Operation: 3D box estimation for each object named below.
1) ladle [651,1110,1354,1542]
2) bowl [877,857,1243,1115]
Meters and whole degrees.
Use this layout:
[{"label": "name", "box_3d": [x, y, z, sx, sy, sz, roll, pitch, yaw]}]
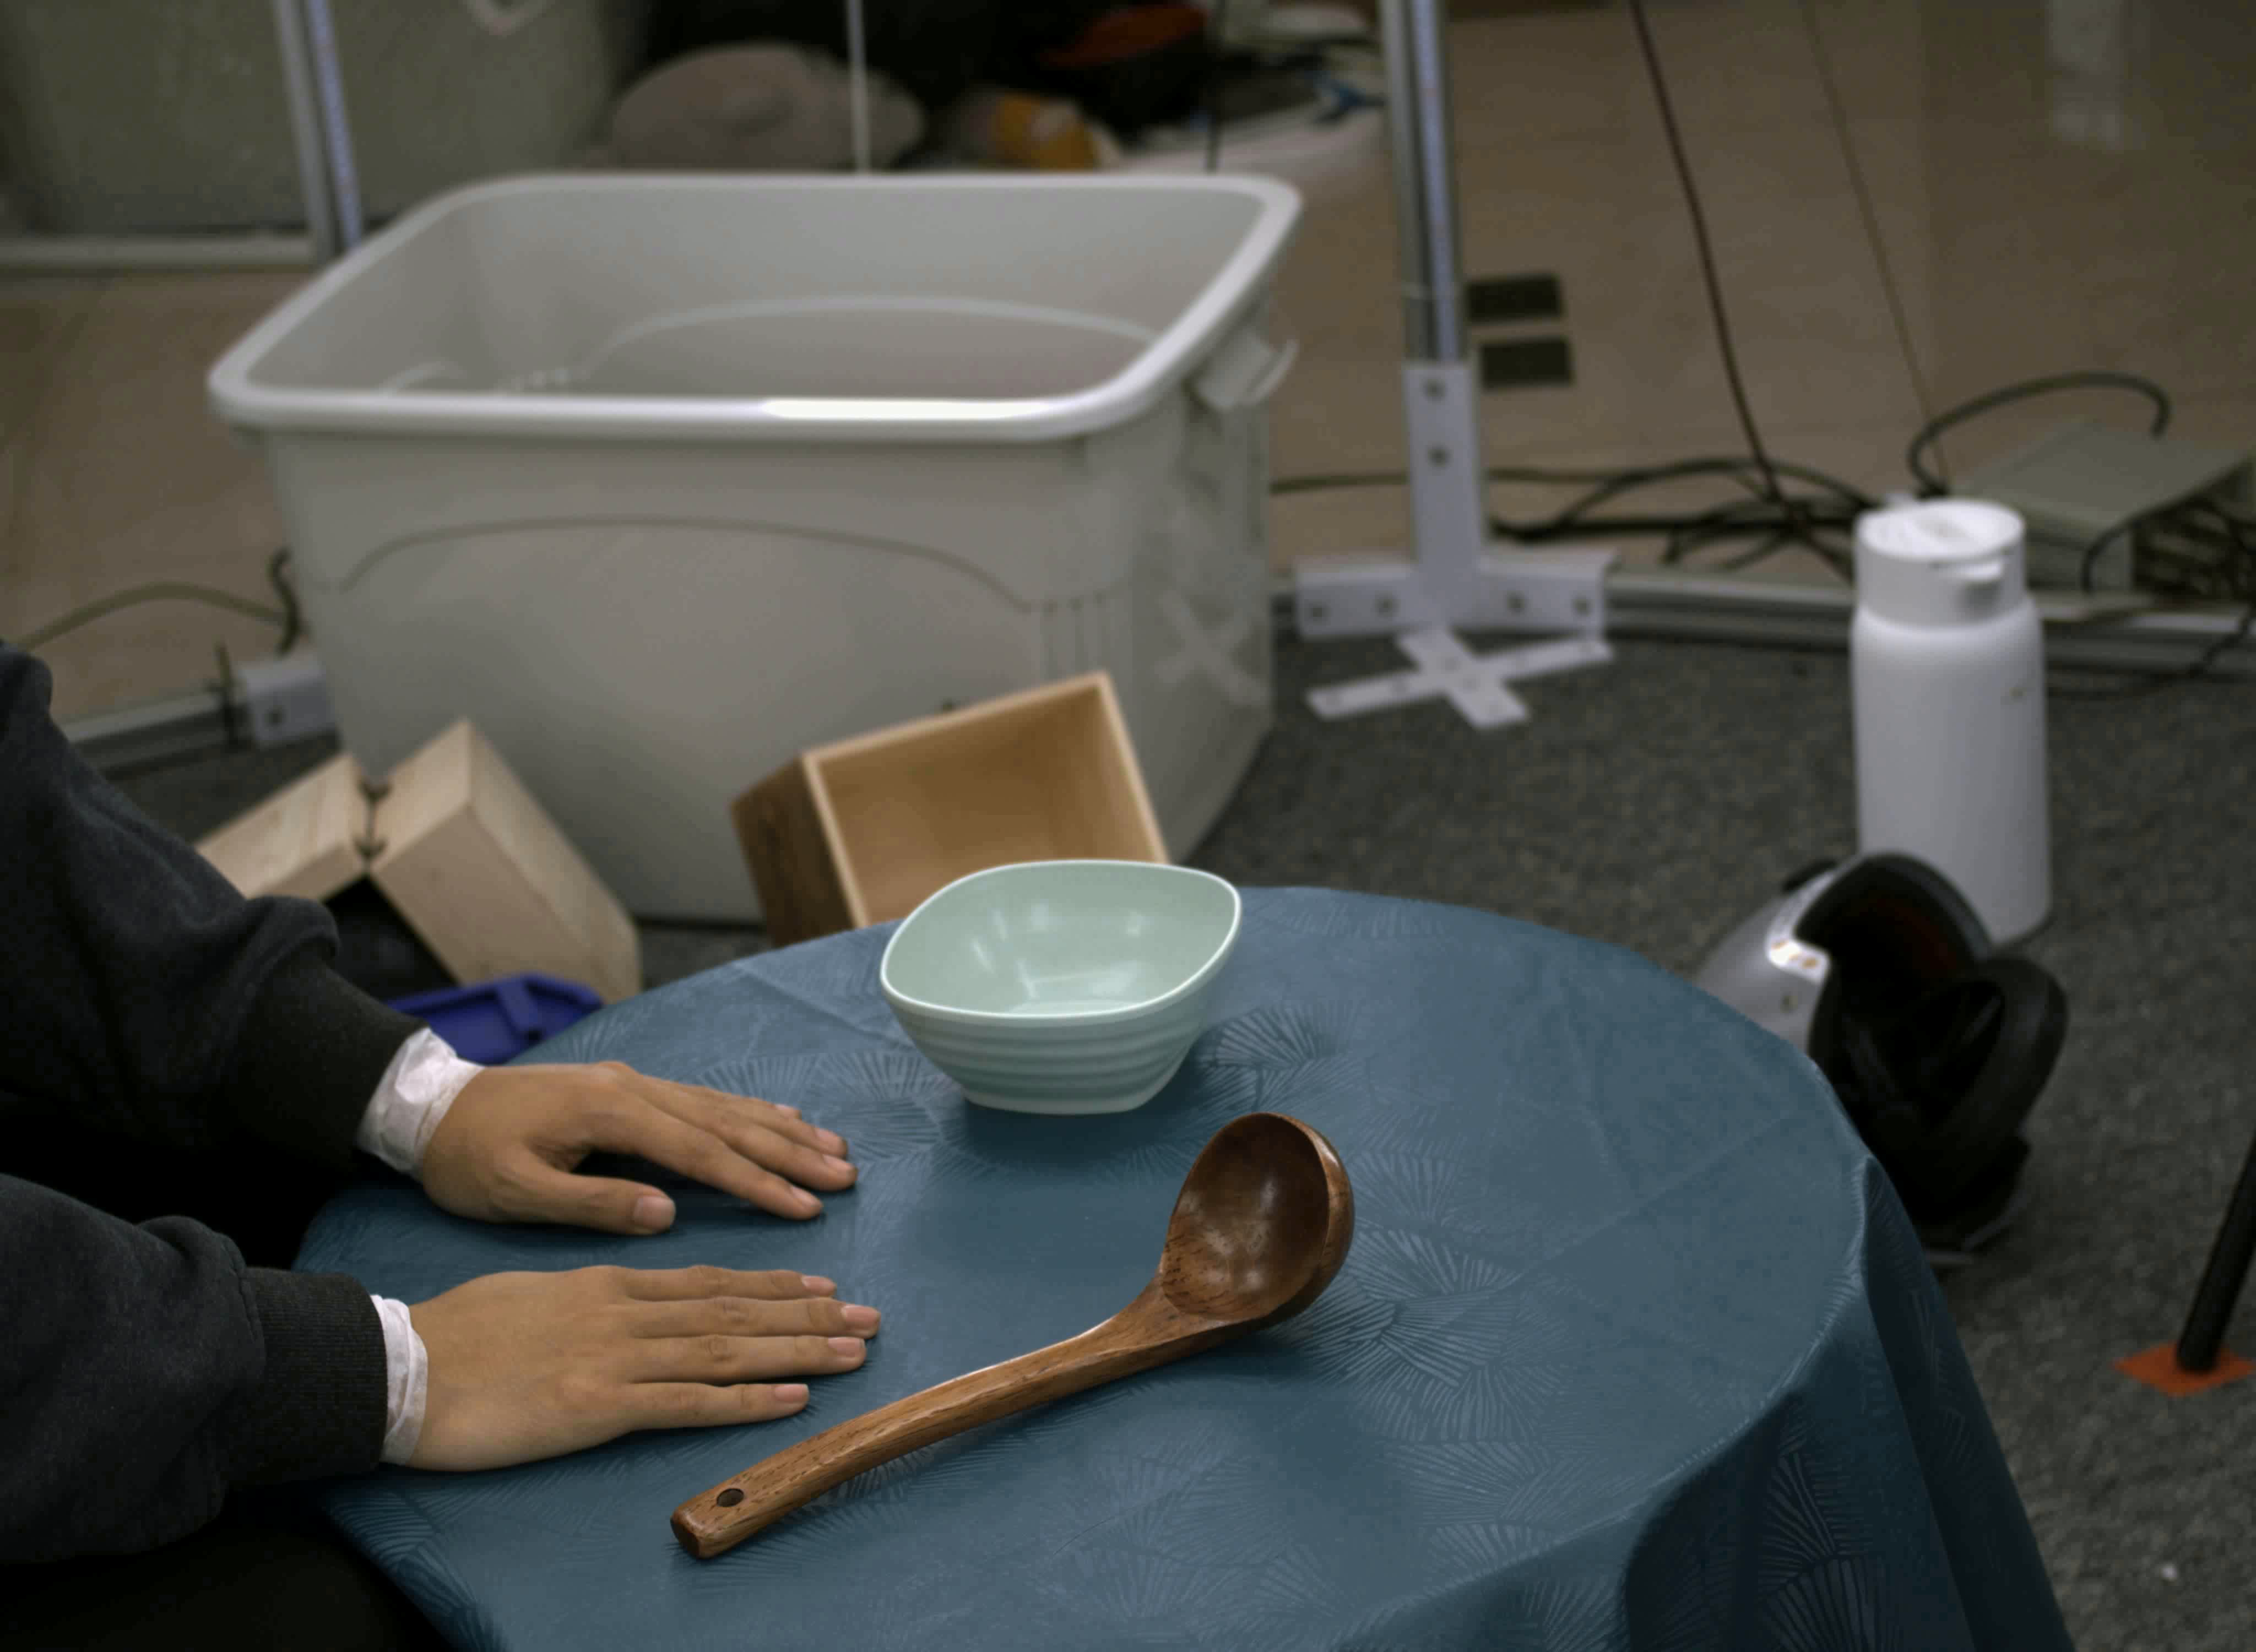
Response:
[{"label": "ladle", "box_3d": [-0.043, 0.173, 1.989, 0.272, 0.078, 0.081, -18, 32, -24]}, {"label": "bowl", "box_3d": [-0.025, 0.068, 2.234, 0.151, 0.059, 0.149, -3, 26, 2]}]
